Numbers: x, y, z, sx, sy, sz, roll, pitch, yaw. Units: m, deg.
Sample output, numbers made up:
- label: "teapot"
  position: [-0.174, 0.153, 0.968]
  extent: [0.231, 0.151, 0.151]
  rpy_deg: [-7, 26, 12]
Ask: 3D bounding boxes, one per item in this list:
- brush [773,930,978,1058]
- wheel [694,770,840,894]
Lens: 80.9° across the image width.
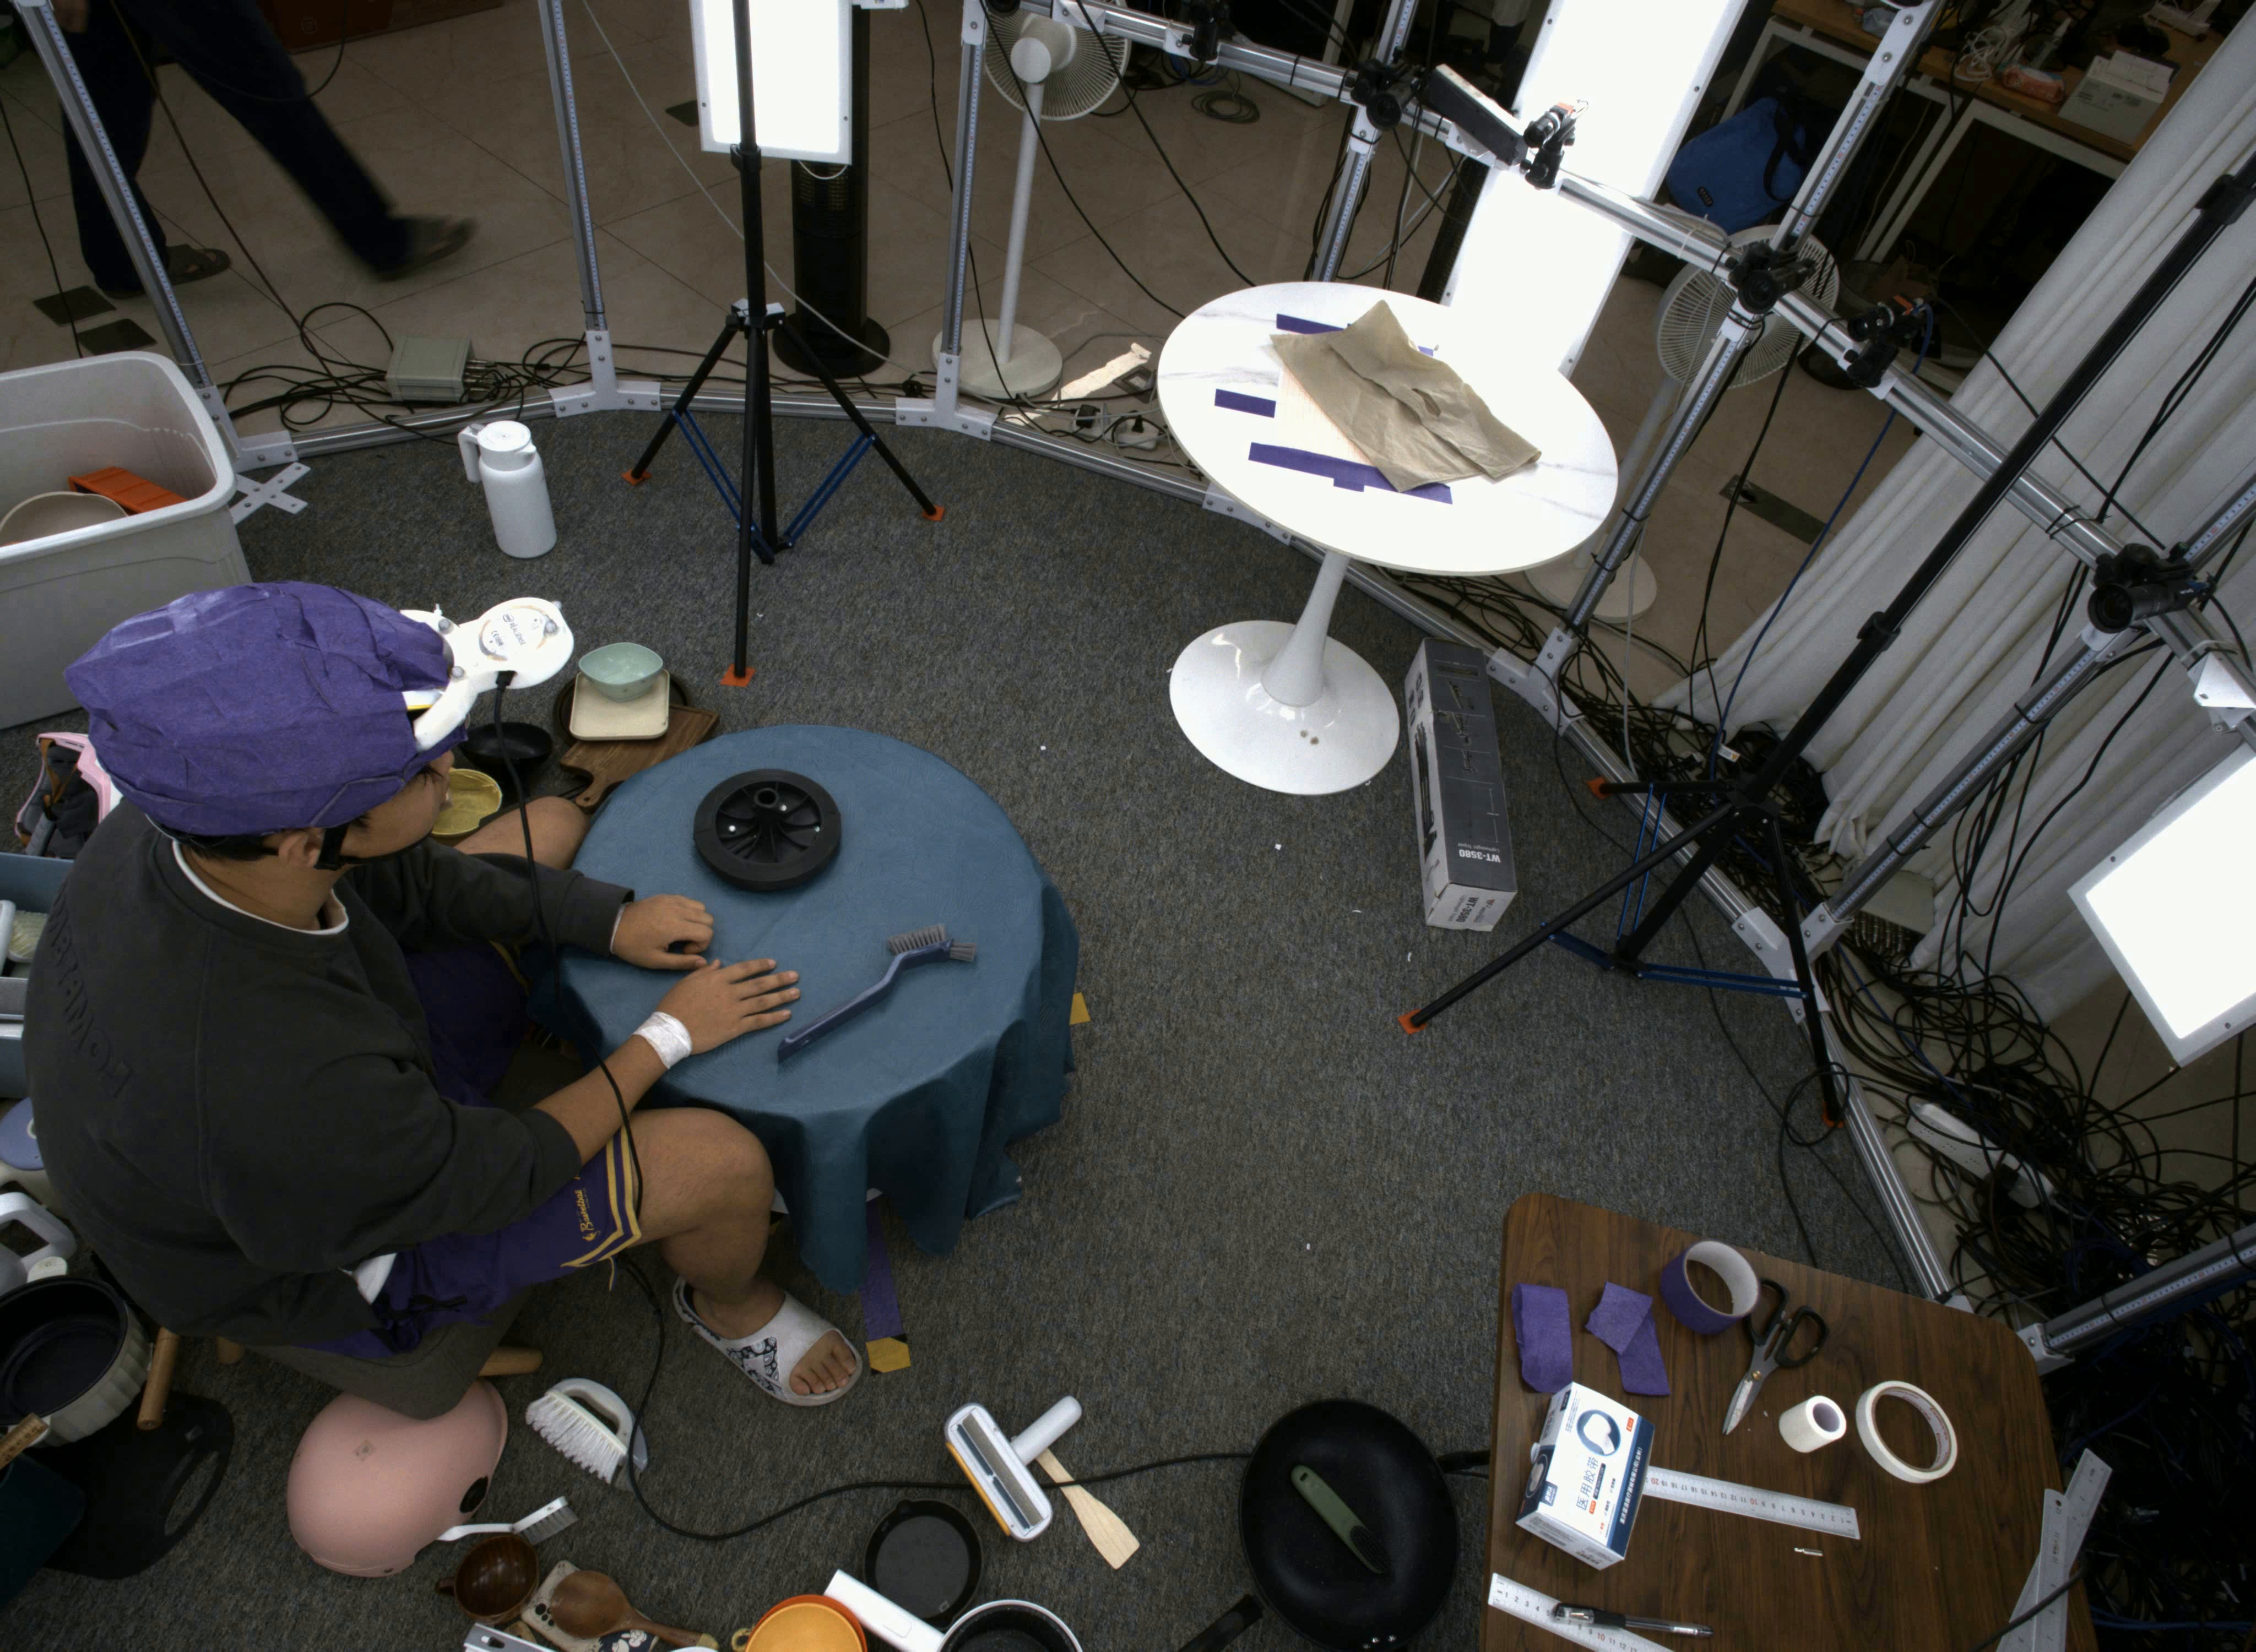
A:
- label: "brush"
  position: [-0.308, 0.207, 1.583]
  extent: [0.094, 0.034, 0.273]
  rpy_deg: [39, 53, 15]
- label: "wheel"
  position: [-0.468, -0.010, 1.675]
  extent: [0.185, 0.081, 0.188]
  rpy_deg: [20, 52, 1]
